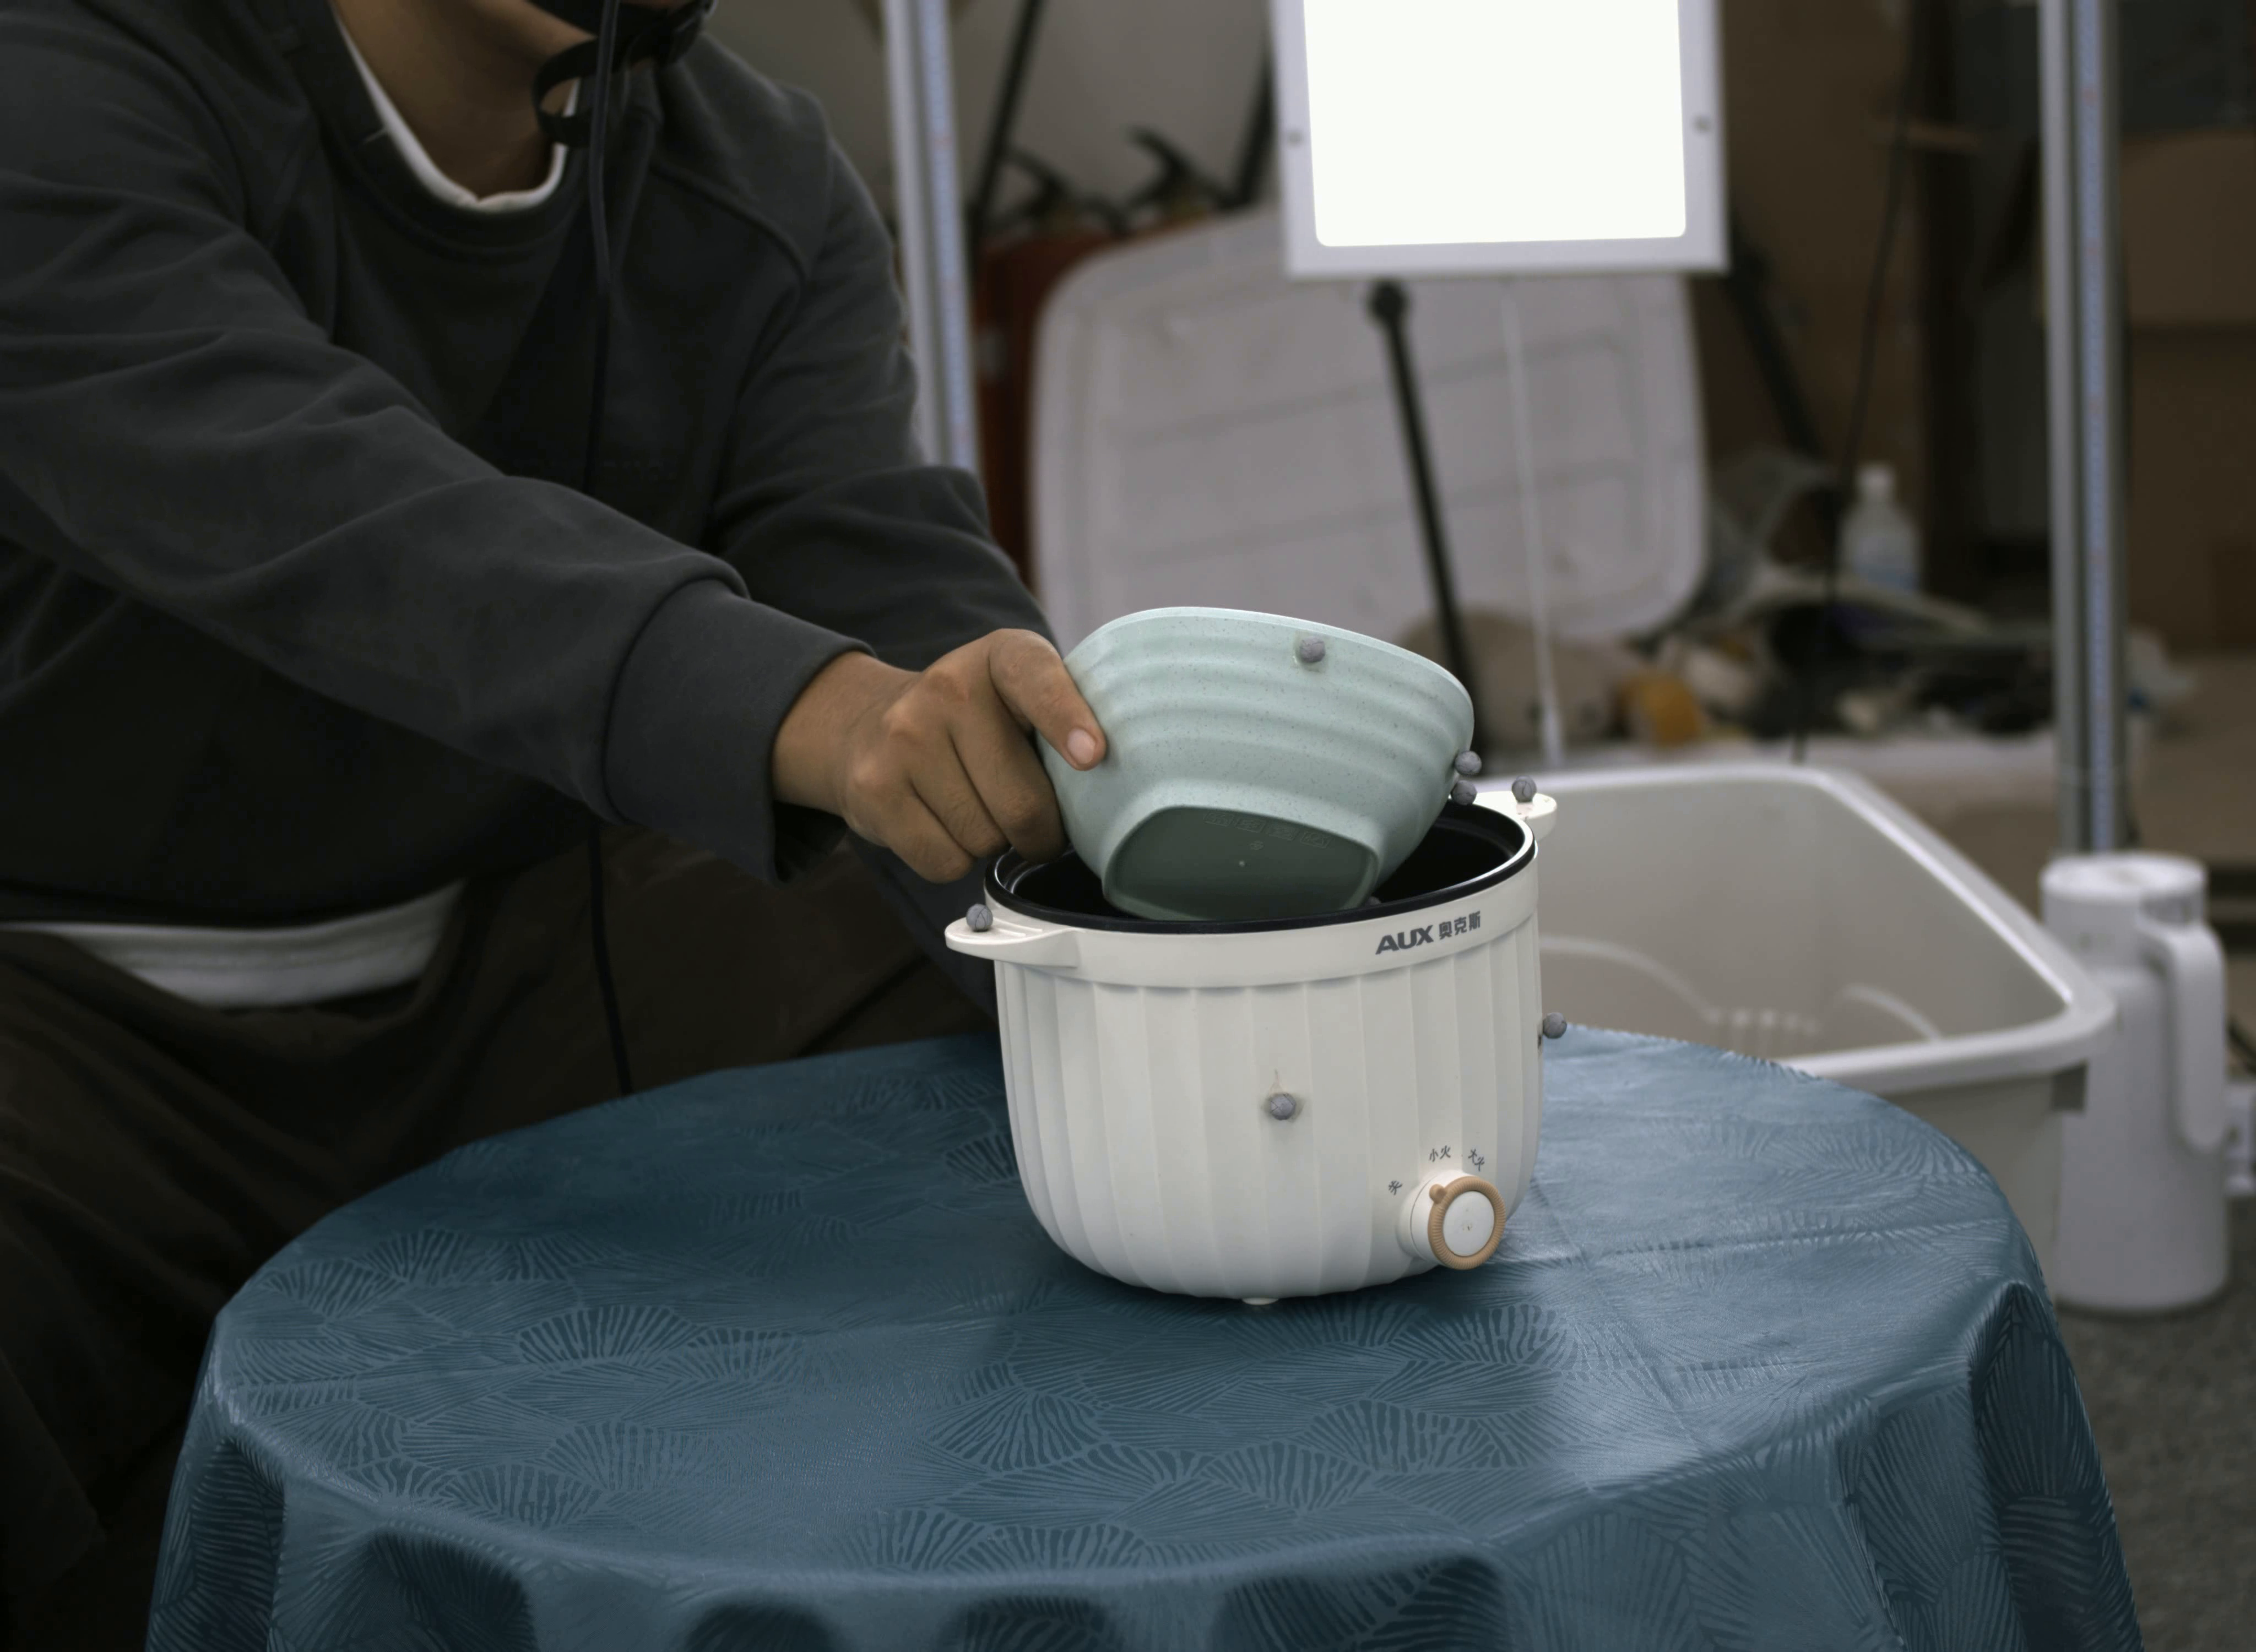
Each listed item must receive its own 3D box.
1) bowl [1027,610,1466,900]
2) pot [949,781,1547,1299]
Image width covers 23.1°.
[{"bbox_3d":[0.036,-0.006,1.763,0.151,0.058,0.152,6,-31,2],"label":"bowl"},{"bbox_3d":[0.052,0.071,1.808,0.234,0.143,0.194,-16,14,-33],"label":"pot"}]
